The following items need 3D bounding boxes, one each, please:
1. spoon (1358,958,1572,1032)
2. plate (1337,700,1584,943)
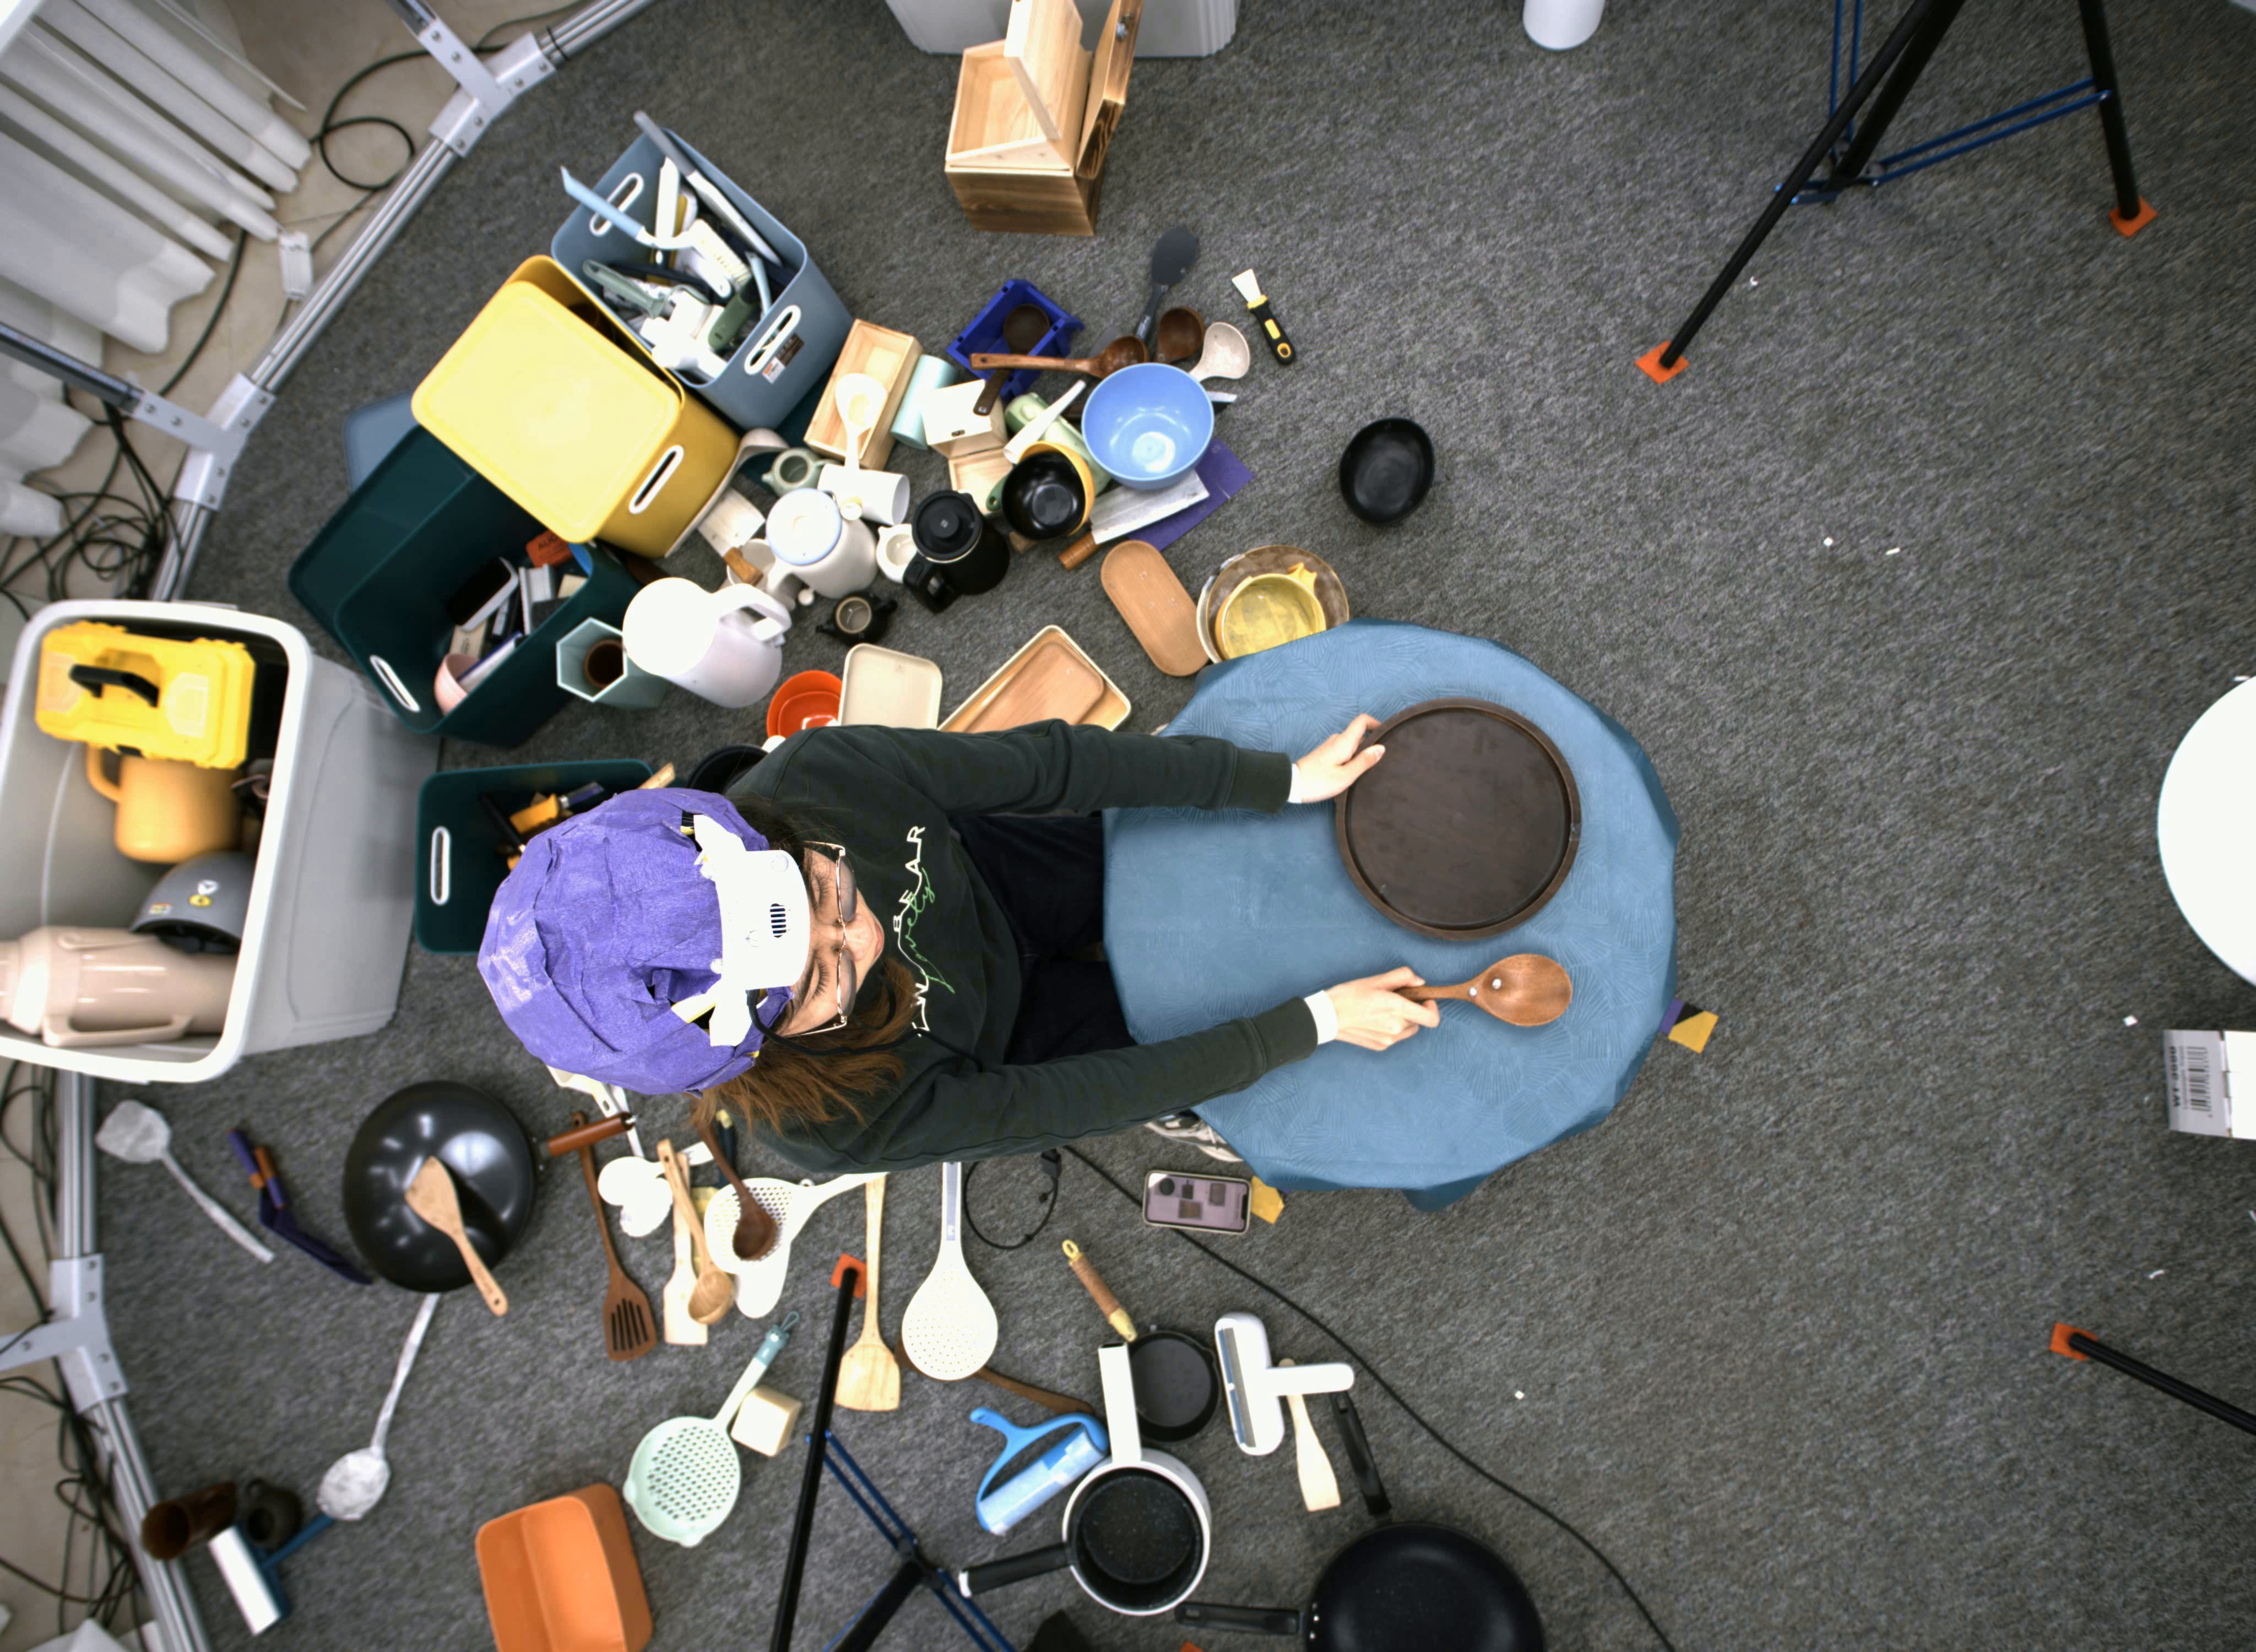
[{"bbox_3d":[0.345,0.175,1.419,0.217,0.017,0.075,-4,83,13],"label":"spoon"},{"bbox_3d":[0.344,-0.006,1.433,0.255,0.029,0.254,0,90,5],"label":"plate"}]
